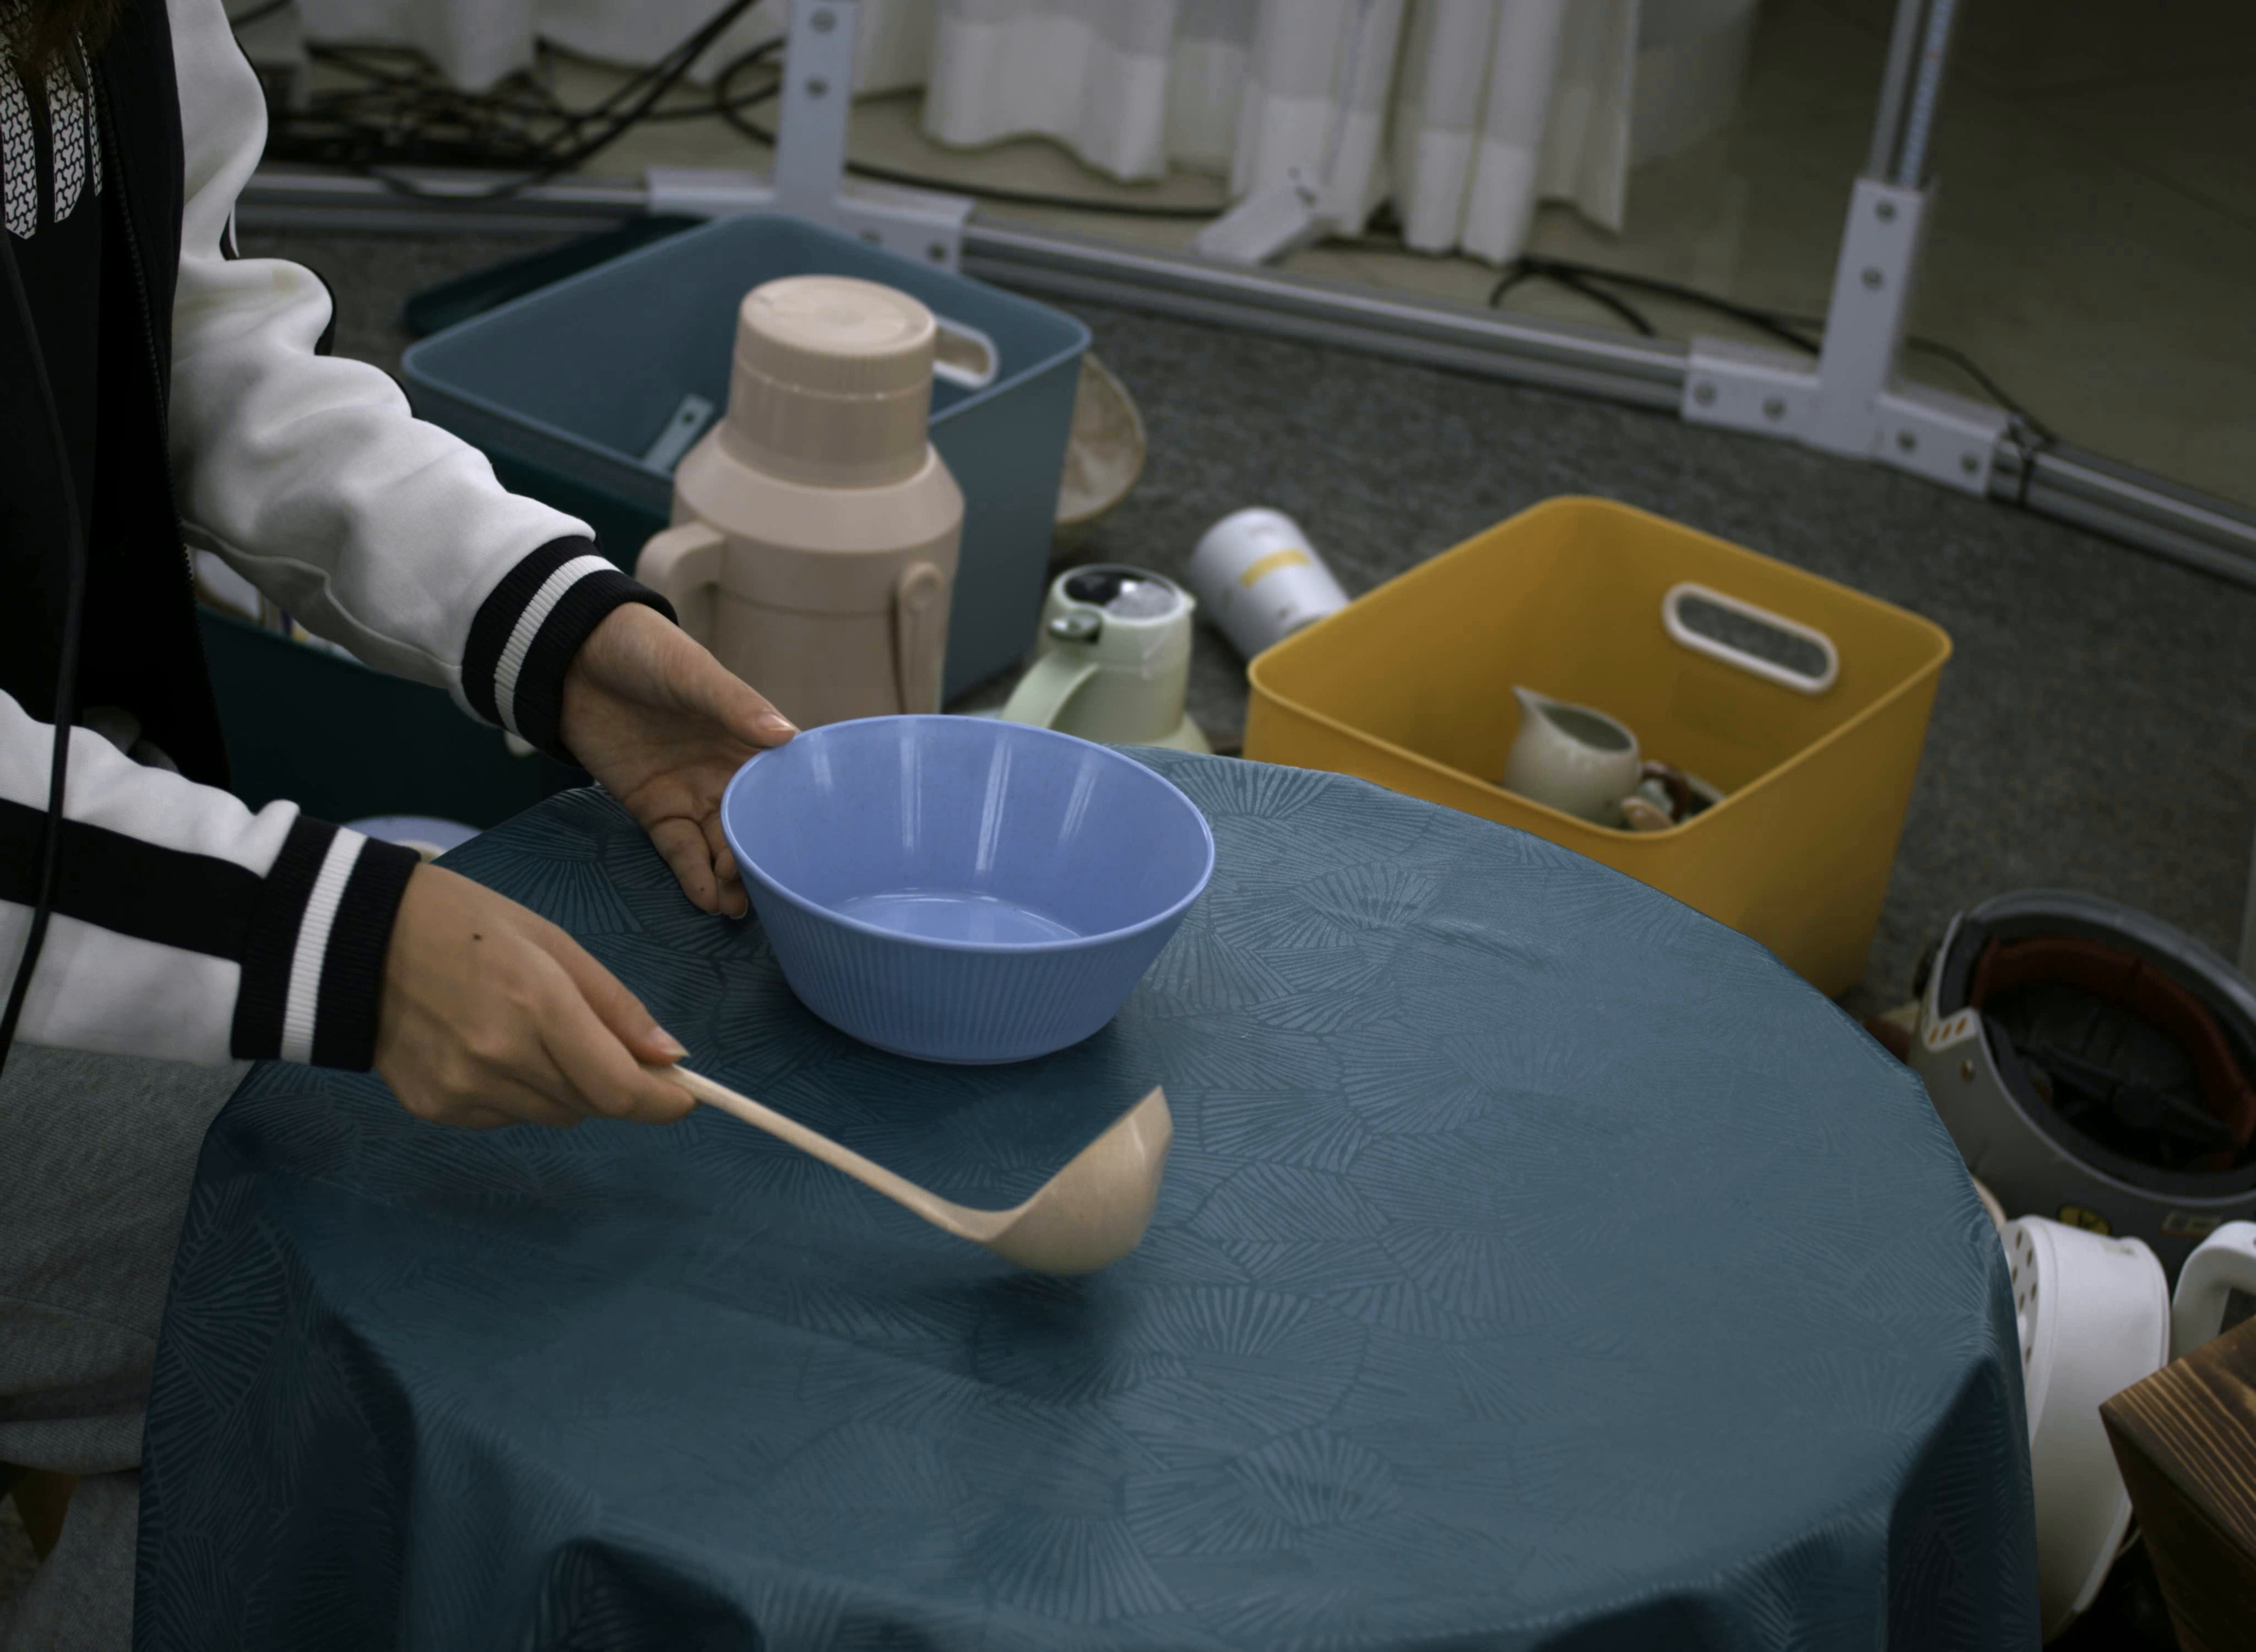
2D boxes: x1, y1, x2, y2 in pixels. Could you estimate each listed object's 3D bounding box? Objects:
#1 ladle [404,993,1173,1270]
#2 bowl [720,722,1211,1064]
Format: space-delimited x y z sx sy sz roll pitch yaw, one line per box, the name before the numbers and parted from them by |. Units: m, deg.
ladle | -0.108 0.072 1.728 0.254 0.073 0.072 22 13 5
bowl | -0.061 0.029 1.896 0.175 0.070 0.177 6 26 -3
